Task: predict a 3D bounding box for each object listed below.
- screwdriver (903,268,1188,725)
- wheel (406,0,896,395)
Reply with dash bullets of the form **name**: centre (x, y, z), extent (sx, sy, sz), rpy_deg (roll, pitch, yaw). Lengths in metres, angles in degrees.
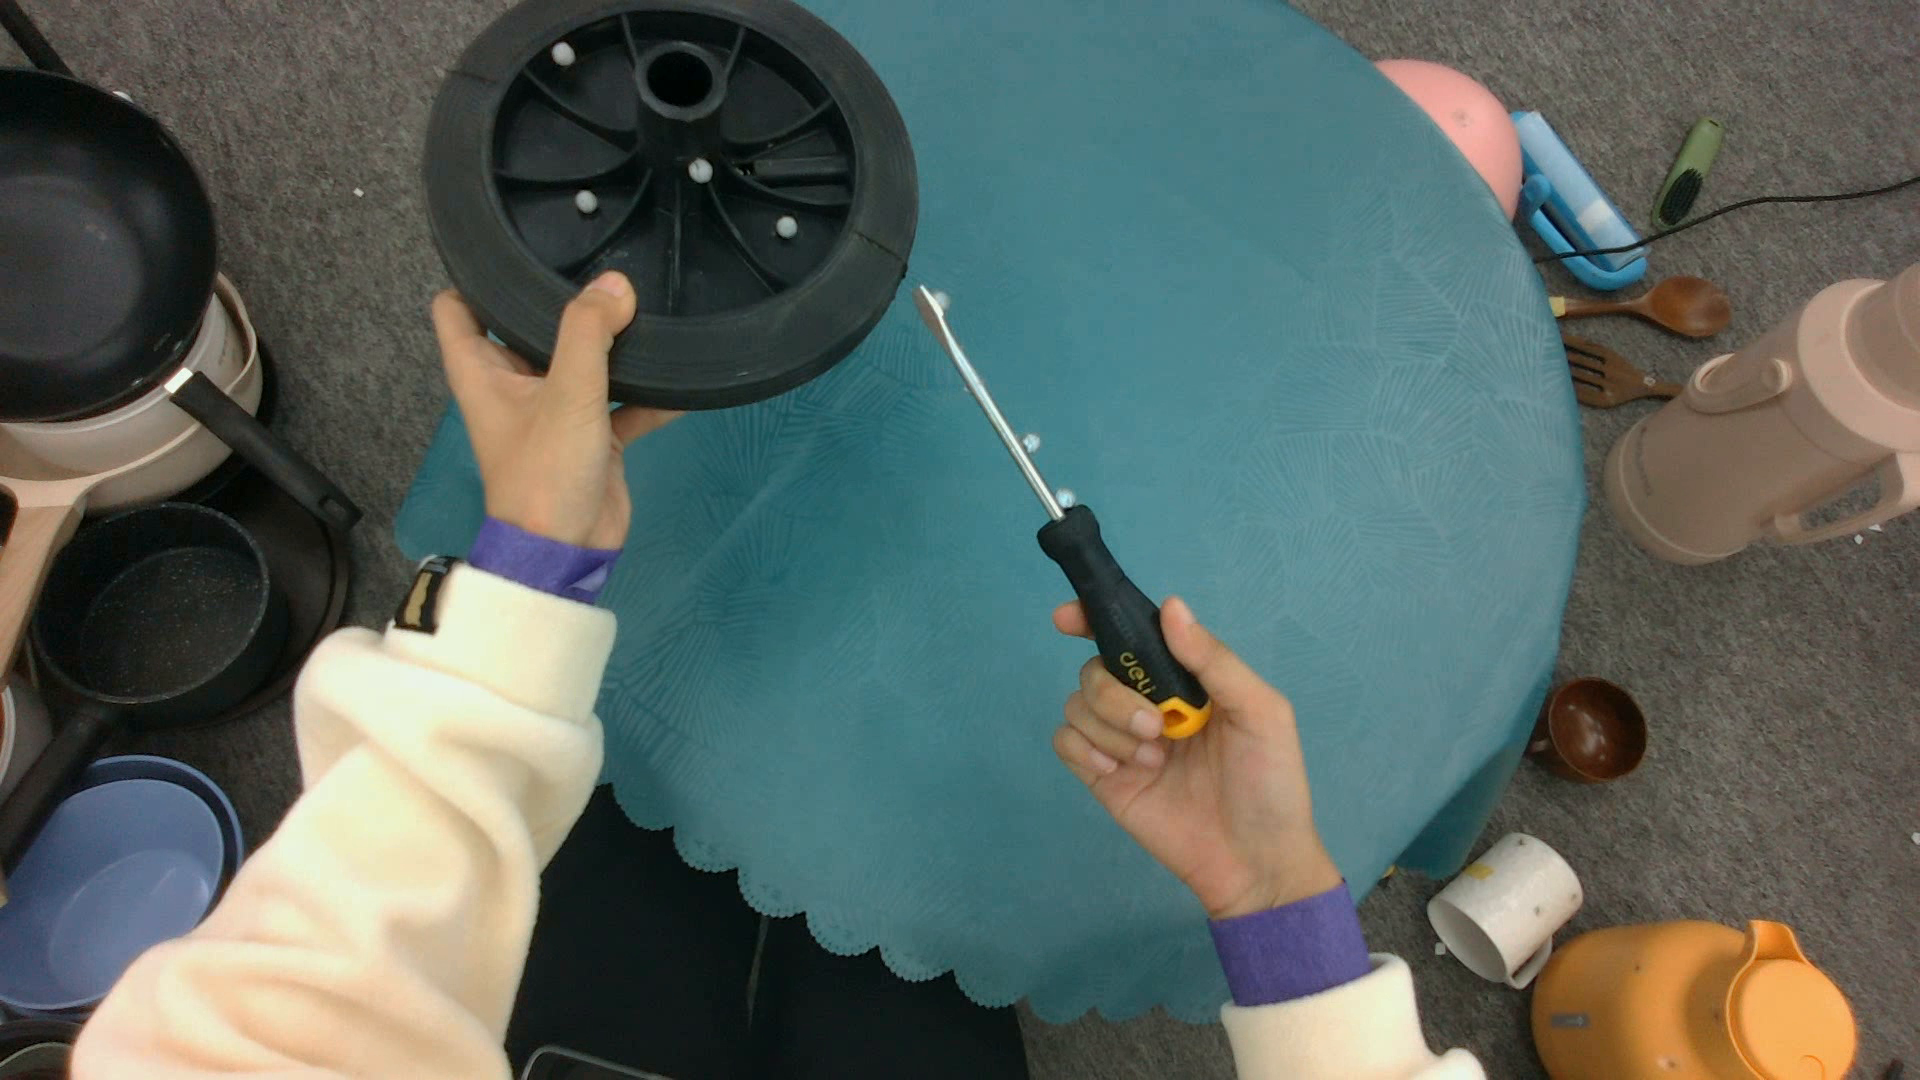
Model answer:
- **screwdriver**: centre (0.028, -0.015, 0.522), extent (0.031, 0.031, 0.198), rpy_deg (-35, 95, -18)
- **wheel**: centre (-0.112, -0.153, 0.524), extent (0.190, 0.079, 0.187), rpy_deg (-33, 82, -22)
